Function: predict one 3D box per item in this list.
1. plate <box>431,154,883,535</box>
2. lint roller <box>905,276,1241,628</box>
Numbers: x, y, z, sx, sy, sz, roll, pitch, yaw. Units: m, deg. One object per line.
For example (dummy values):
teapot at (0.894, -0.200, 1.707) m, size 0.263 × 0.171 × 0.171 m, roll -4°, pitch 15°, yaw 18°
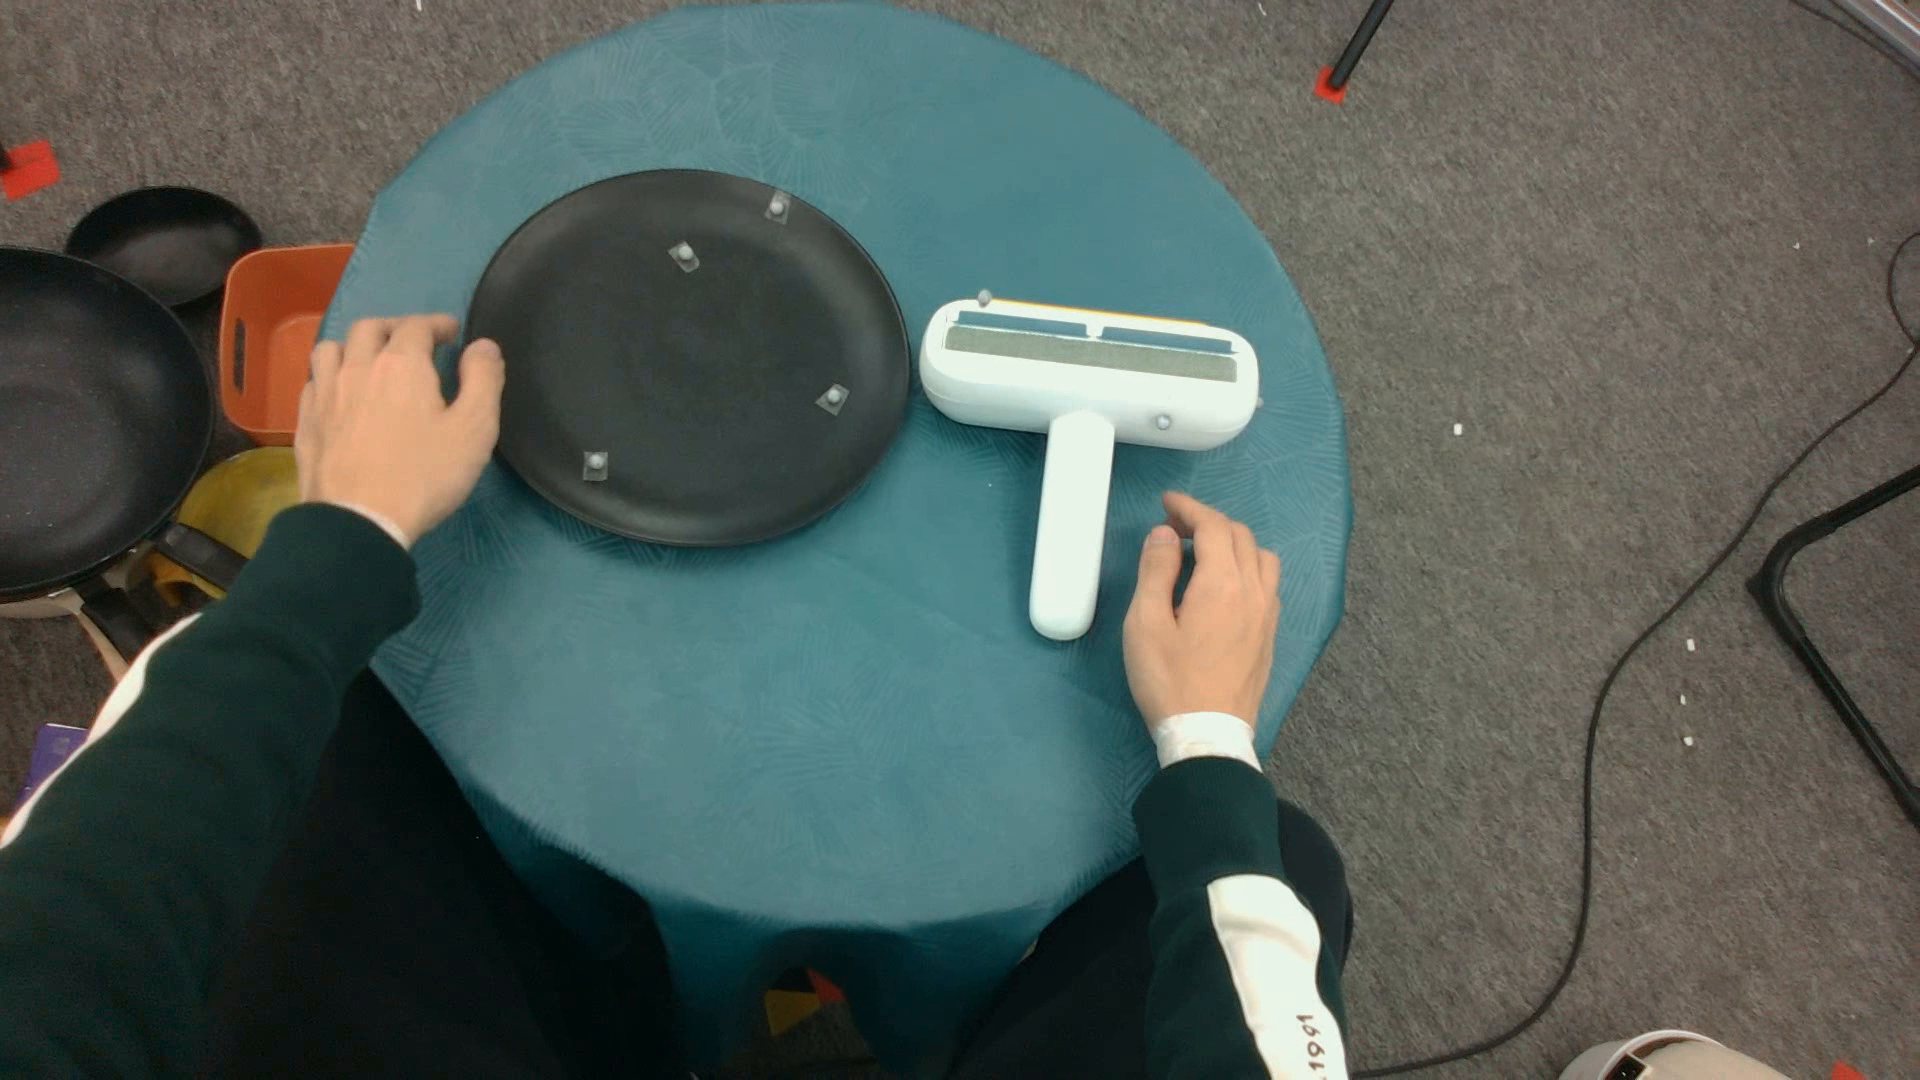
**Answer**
plate at (-0.165, -0.110, 0.770) m, size 0.244 × 0.023 × 0.245 m, roll 5°, pitch 66°, yaw -12°
lint roller at (0.051, -0.046, 0.788) m, size 0.193 × 0.074 × 0.193 m, roll 13°, pitch 79°, yaw 0°
